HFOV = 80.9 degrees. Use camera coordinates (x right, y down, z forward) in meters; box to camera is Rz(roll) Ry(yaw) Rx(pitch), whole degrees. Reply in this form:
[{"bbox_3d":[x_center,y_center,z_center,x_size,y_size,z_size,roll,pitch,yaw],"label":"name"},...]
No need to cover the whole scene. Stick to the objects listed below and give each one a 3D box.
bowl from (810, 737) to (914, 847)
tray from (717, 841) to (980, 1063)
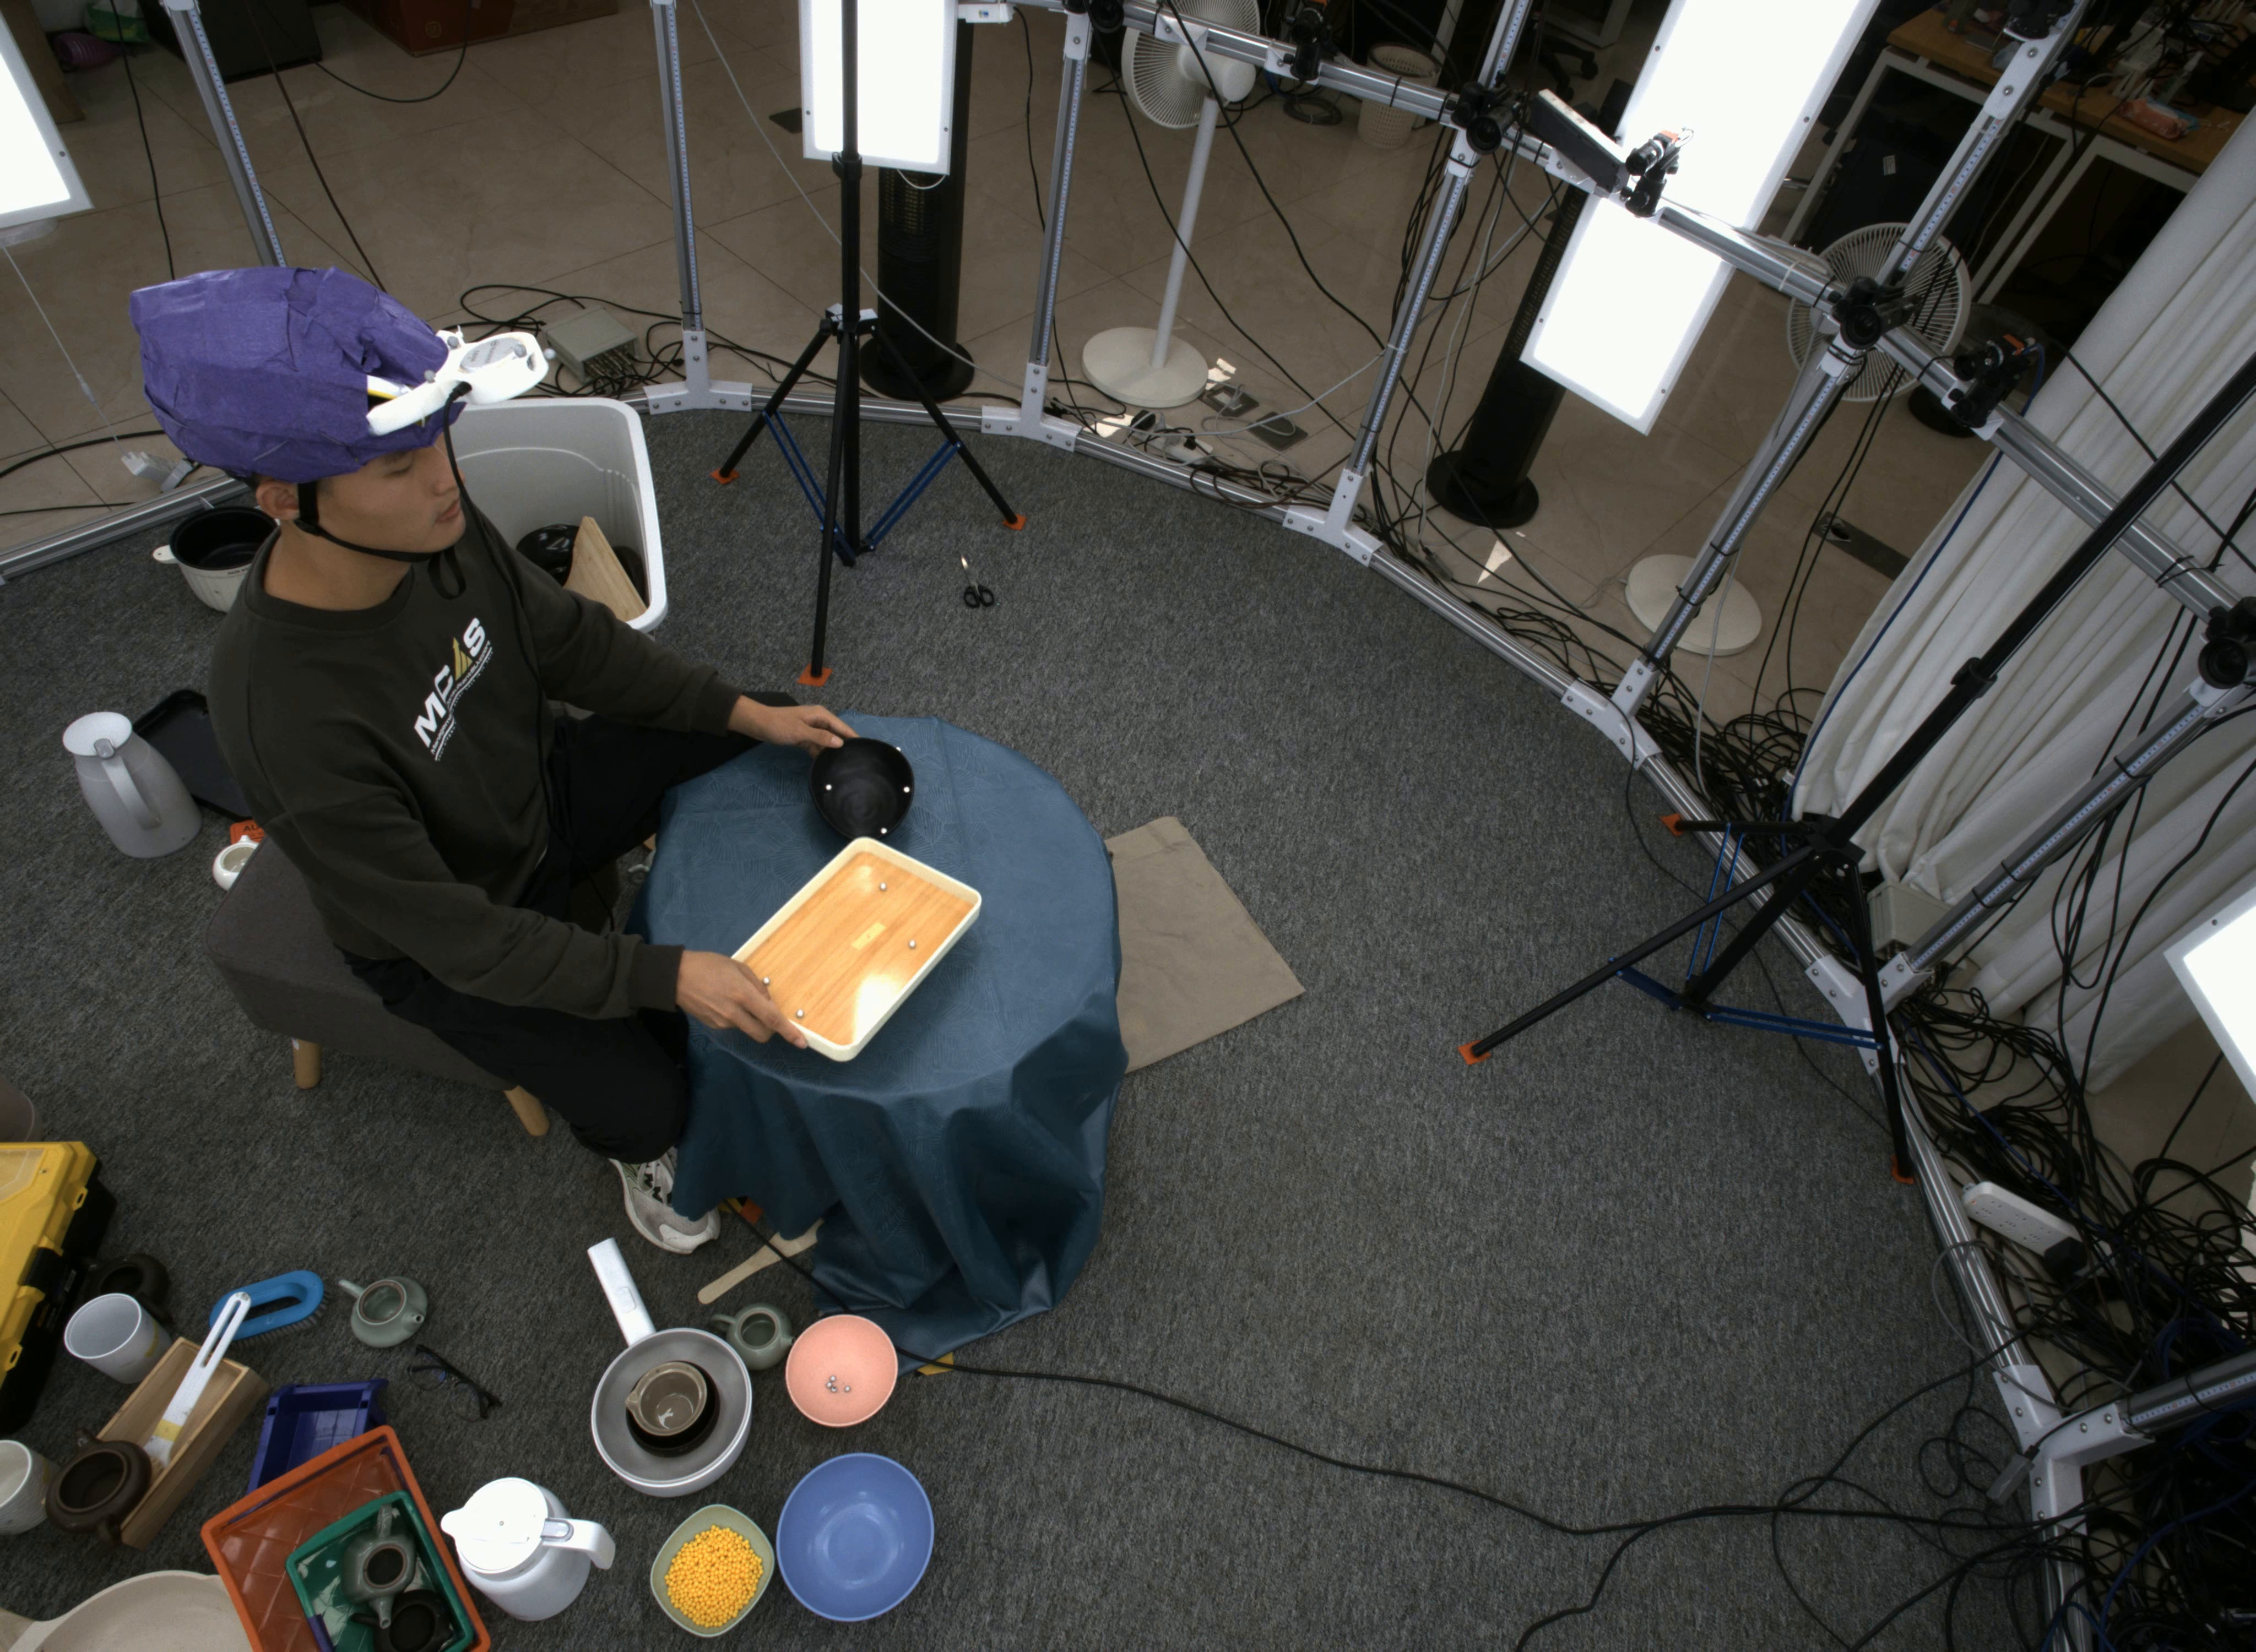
[{"bbox_3d":[-0.355,-0.038,1.741,0.137,0.068,0.166,-7,57,-16],"label":"bowl"},{"bbox_3d":[-0.329,0.140,1.562,0.188,0.028,0.299,26,43,12],"label":"tray"}]
